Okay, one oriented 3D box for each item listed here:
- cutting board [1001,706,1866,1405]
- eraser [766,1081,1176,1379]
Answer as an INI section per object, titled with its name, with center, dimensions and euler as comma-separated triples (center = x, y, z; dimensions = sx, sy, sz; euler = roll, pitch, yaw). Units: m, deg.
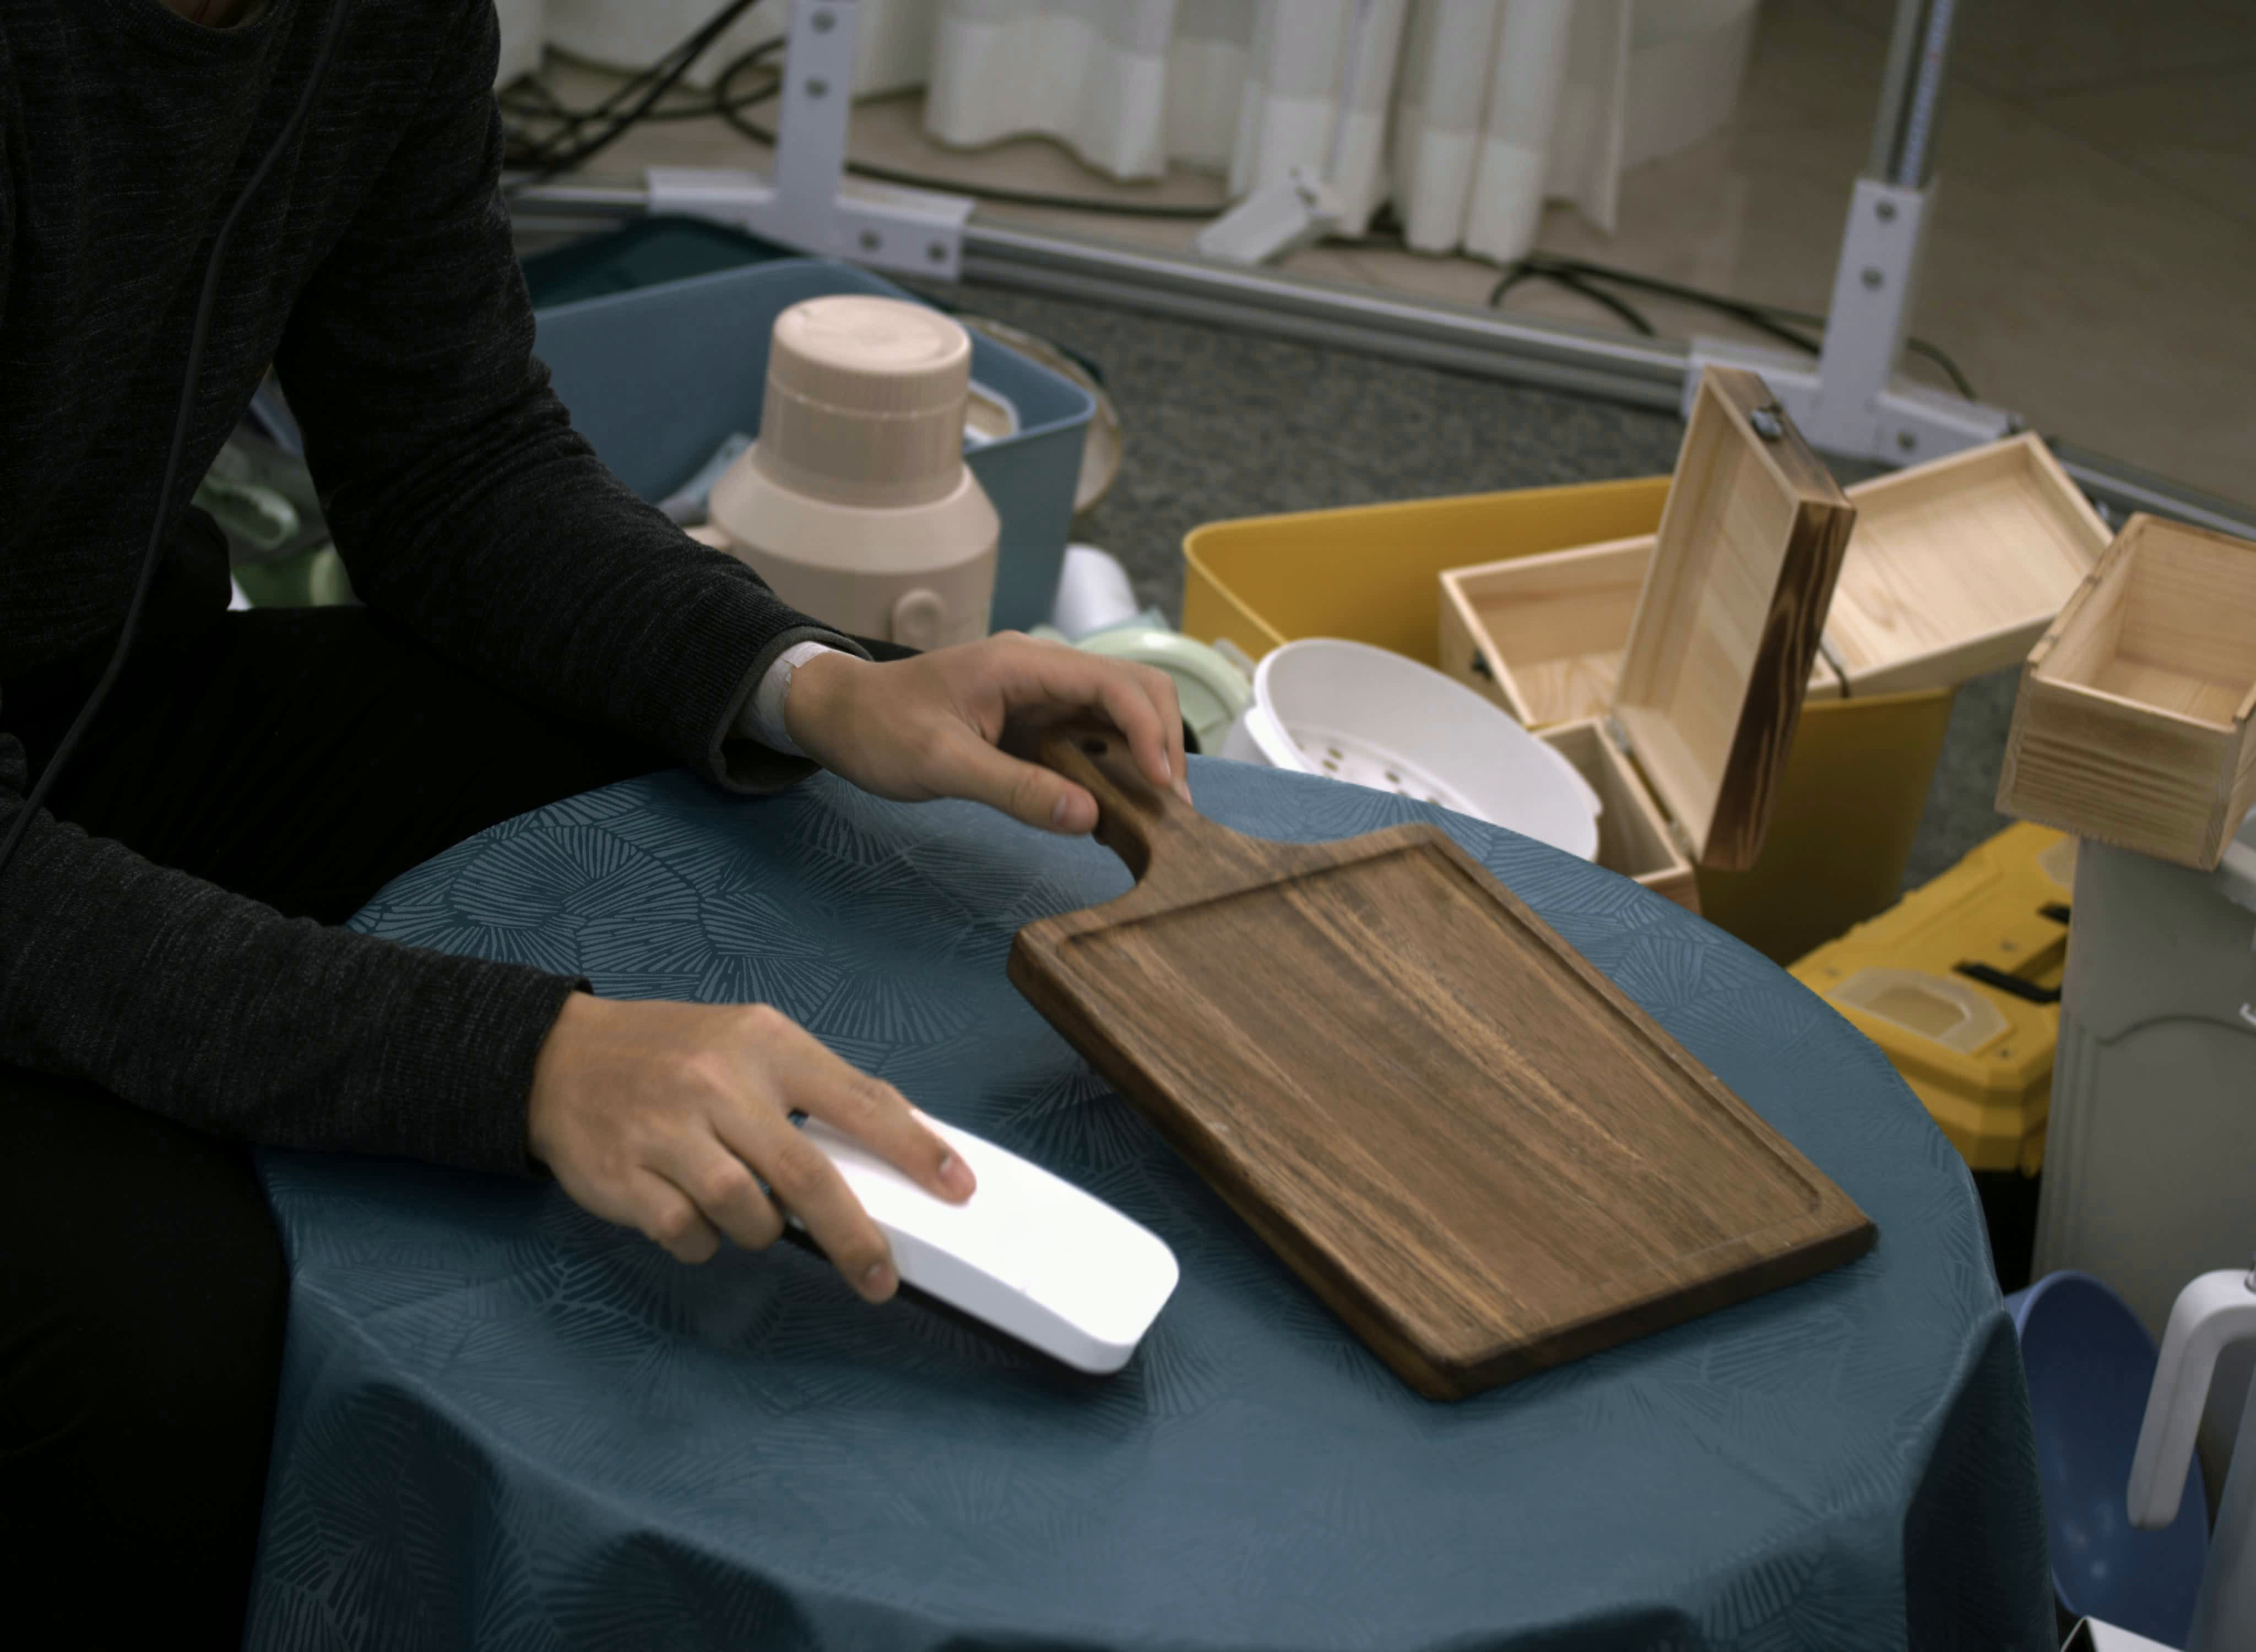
[cutting board]
center = 0.075, 0.062, 1.855
dimensions = 0.200, 0.023, 0.355
euler = -15, 43, -35
[eraser]
center = -0.050, 0.126, 1.699
dimensions = 0.131, 0.034, 0.063
euler = 27, 34, 10
